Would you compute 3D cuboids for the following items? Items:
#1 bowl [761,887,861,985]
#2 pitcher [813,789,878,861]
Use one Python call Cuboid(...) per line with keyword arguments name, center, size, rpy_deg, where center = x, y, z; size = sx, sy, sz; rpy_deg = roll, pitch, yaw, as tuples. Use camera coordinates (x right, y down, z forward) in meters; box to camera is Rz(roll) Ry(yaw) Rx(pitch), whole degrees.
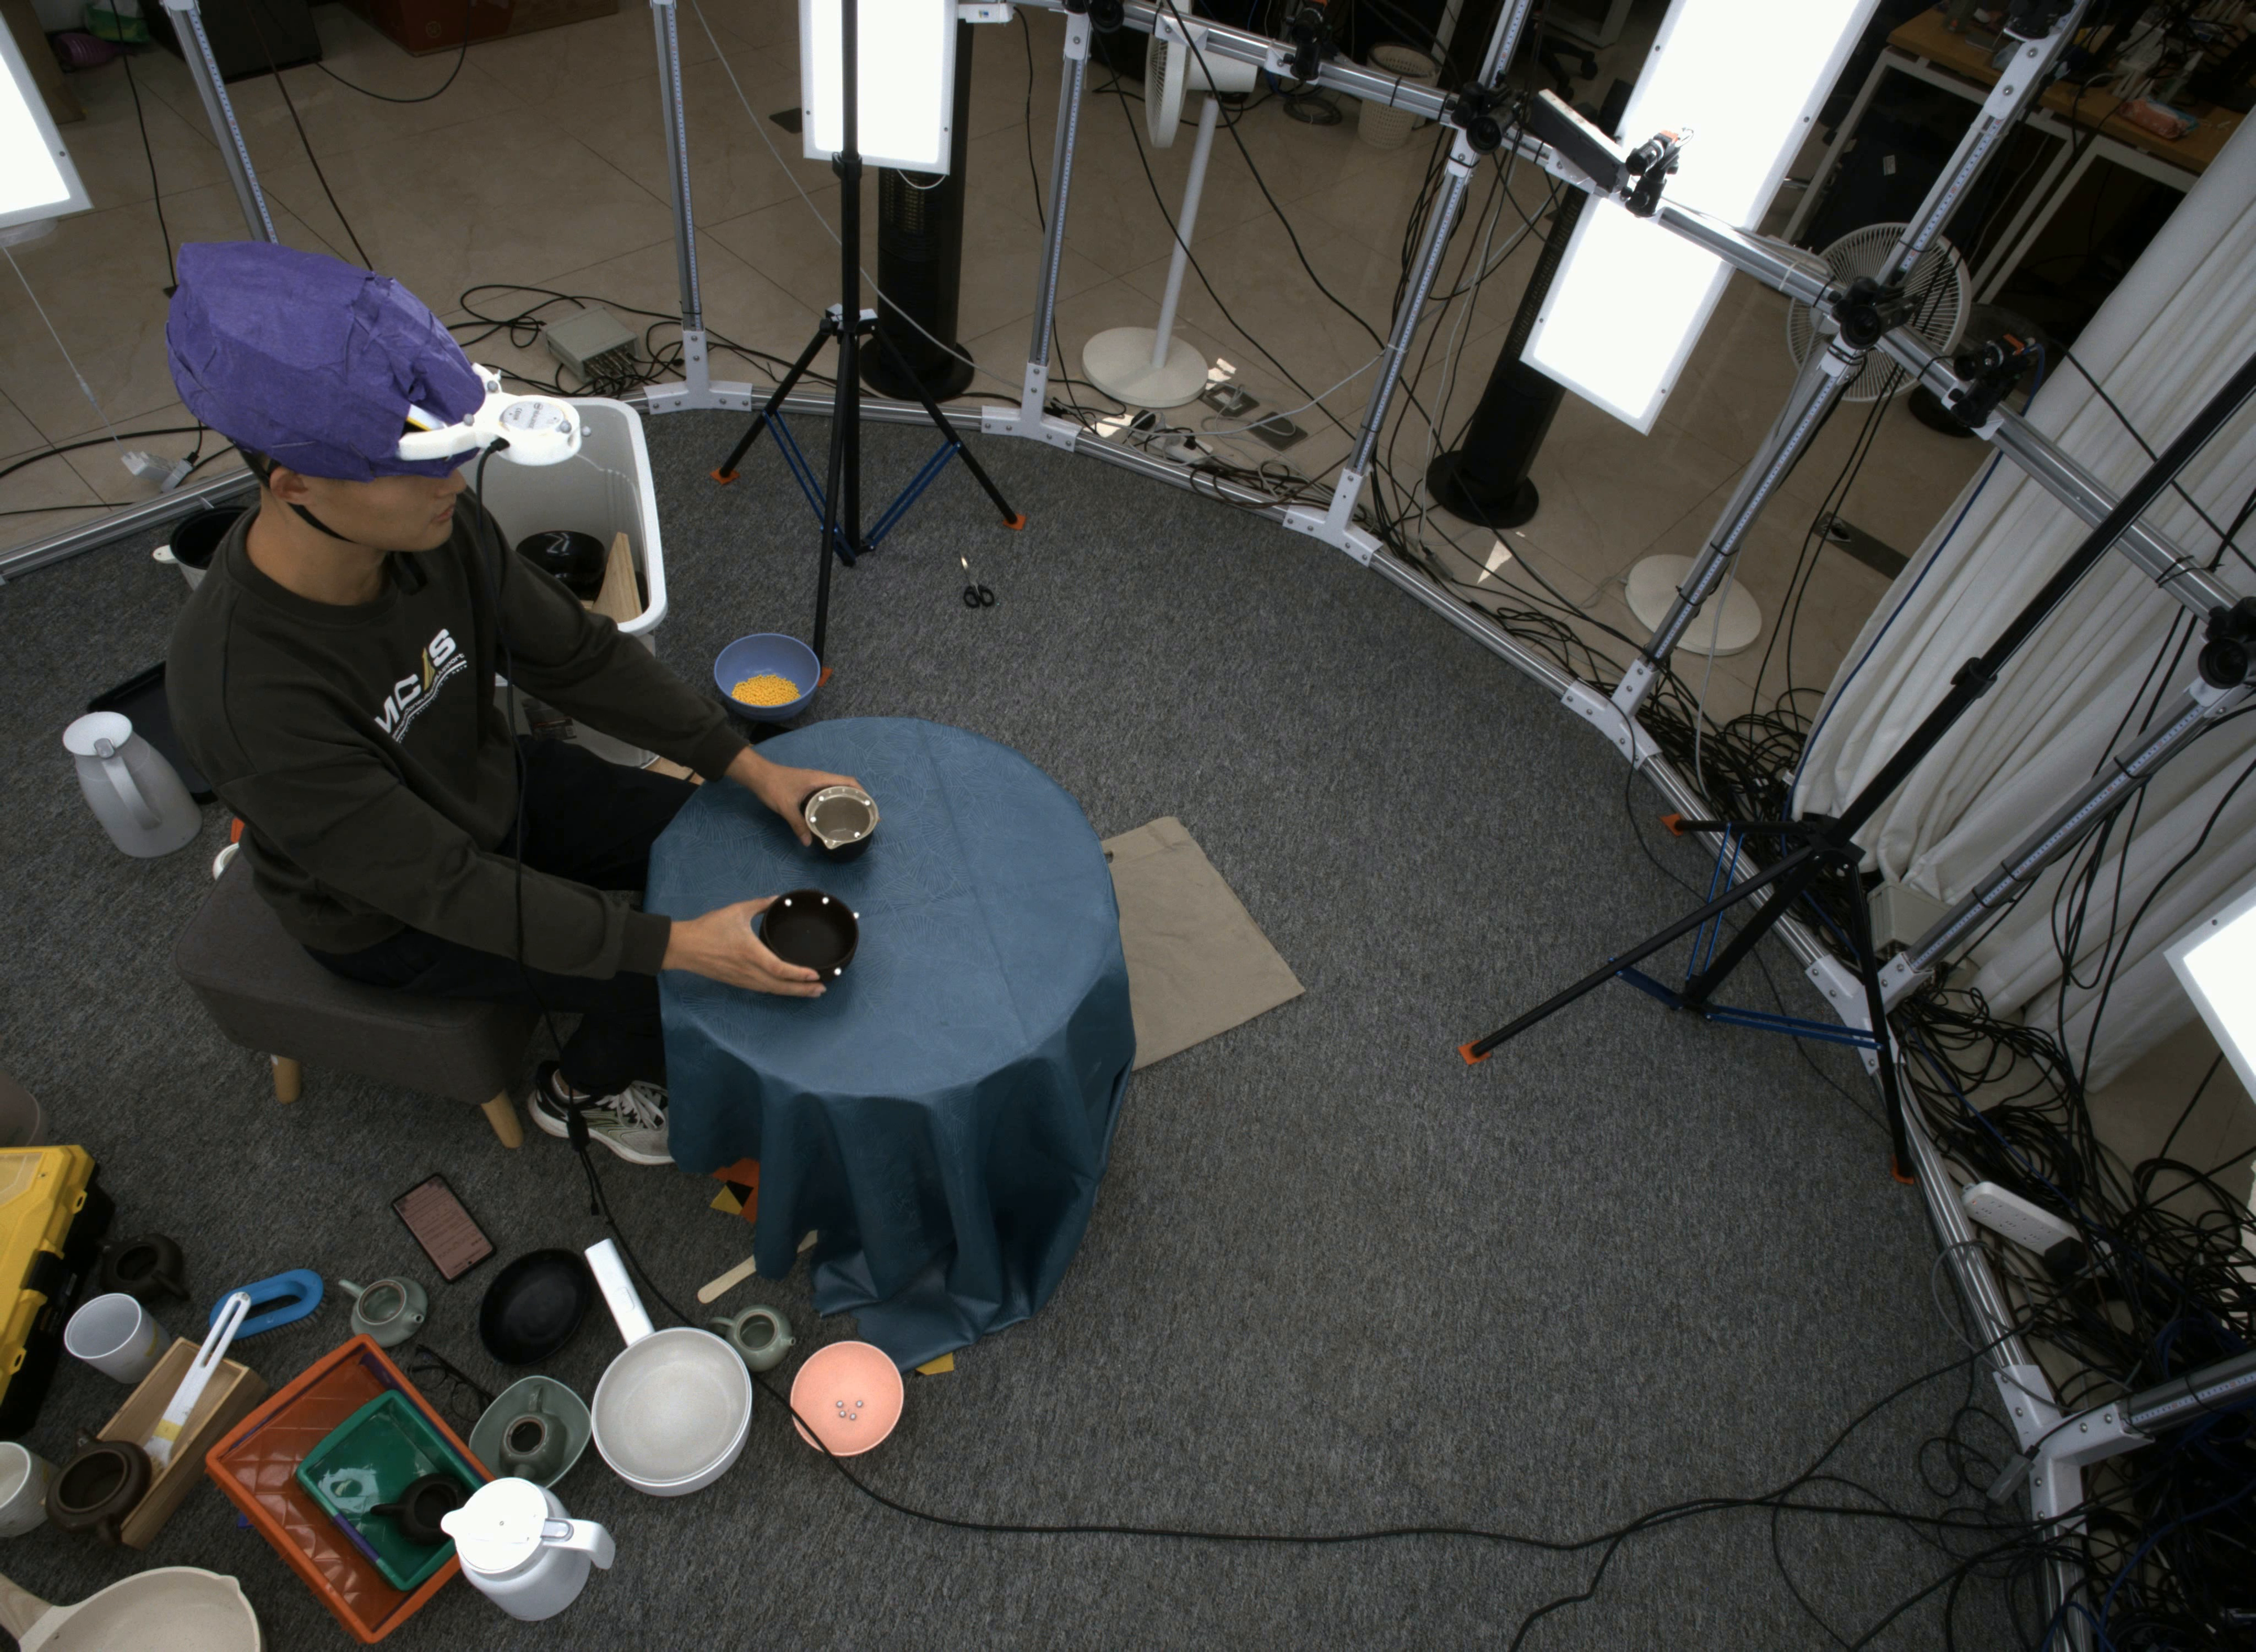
Cuboid(name="bowl", center=(-0.387, 0.139, 1.577), size=(0.119, 0.071, 0.116), rpy_deg=(14, 49, -14))
Cuboid(name="pitcher", center=(-0.371, 0.007, 1.696), size=(0.083, 0.072, 0.095), rpy_deg=(18, 53, -1))
